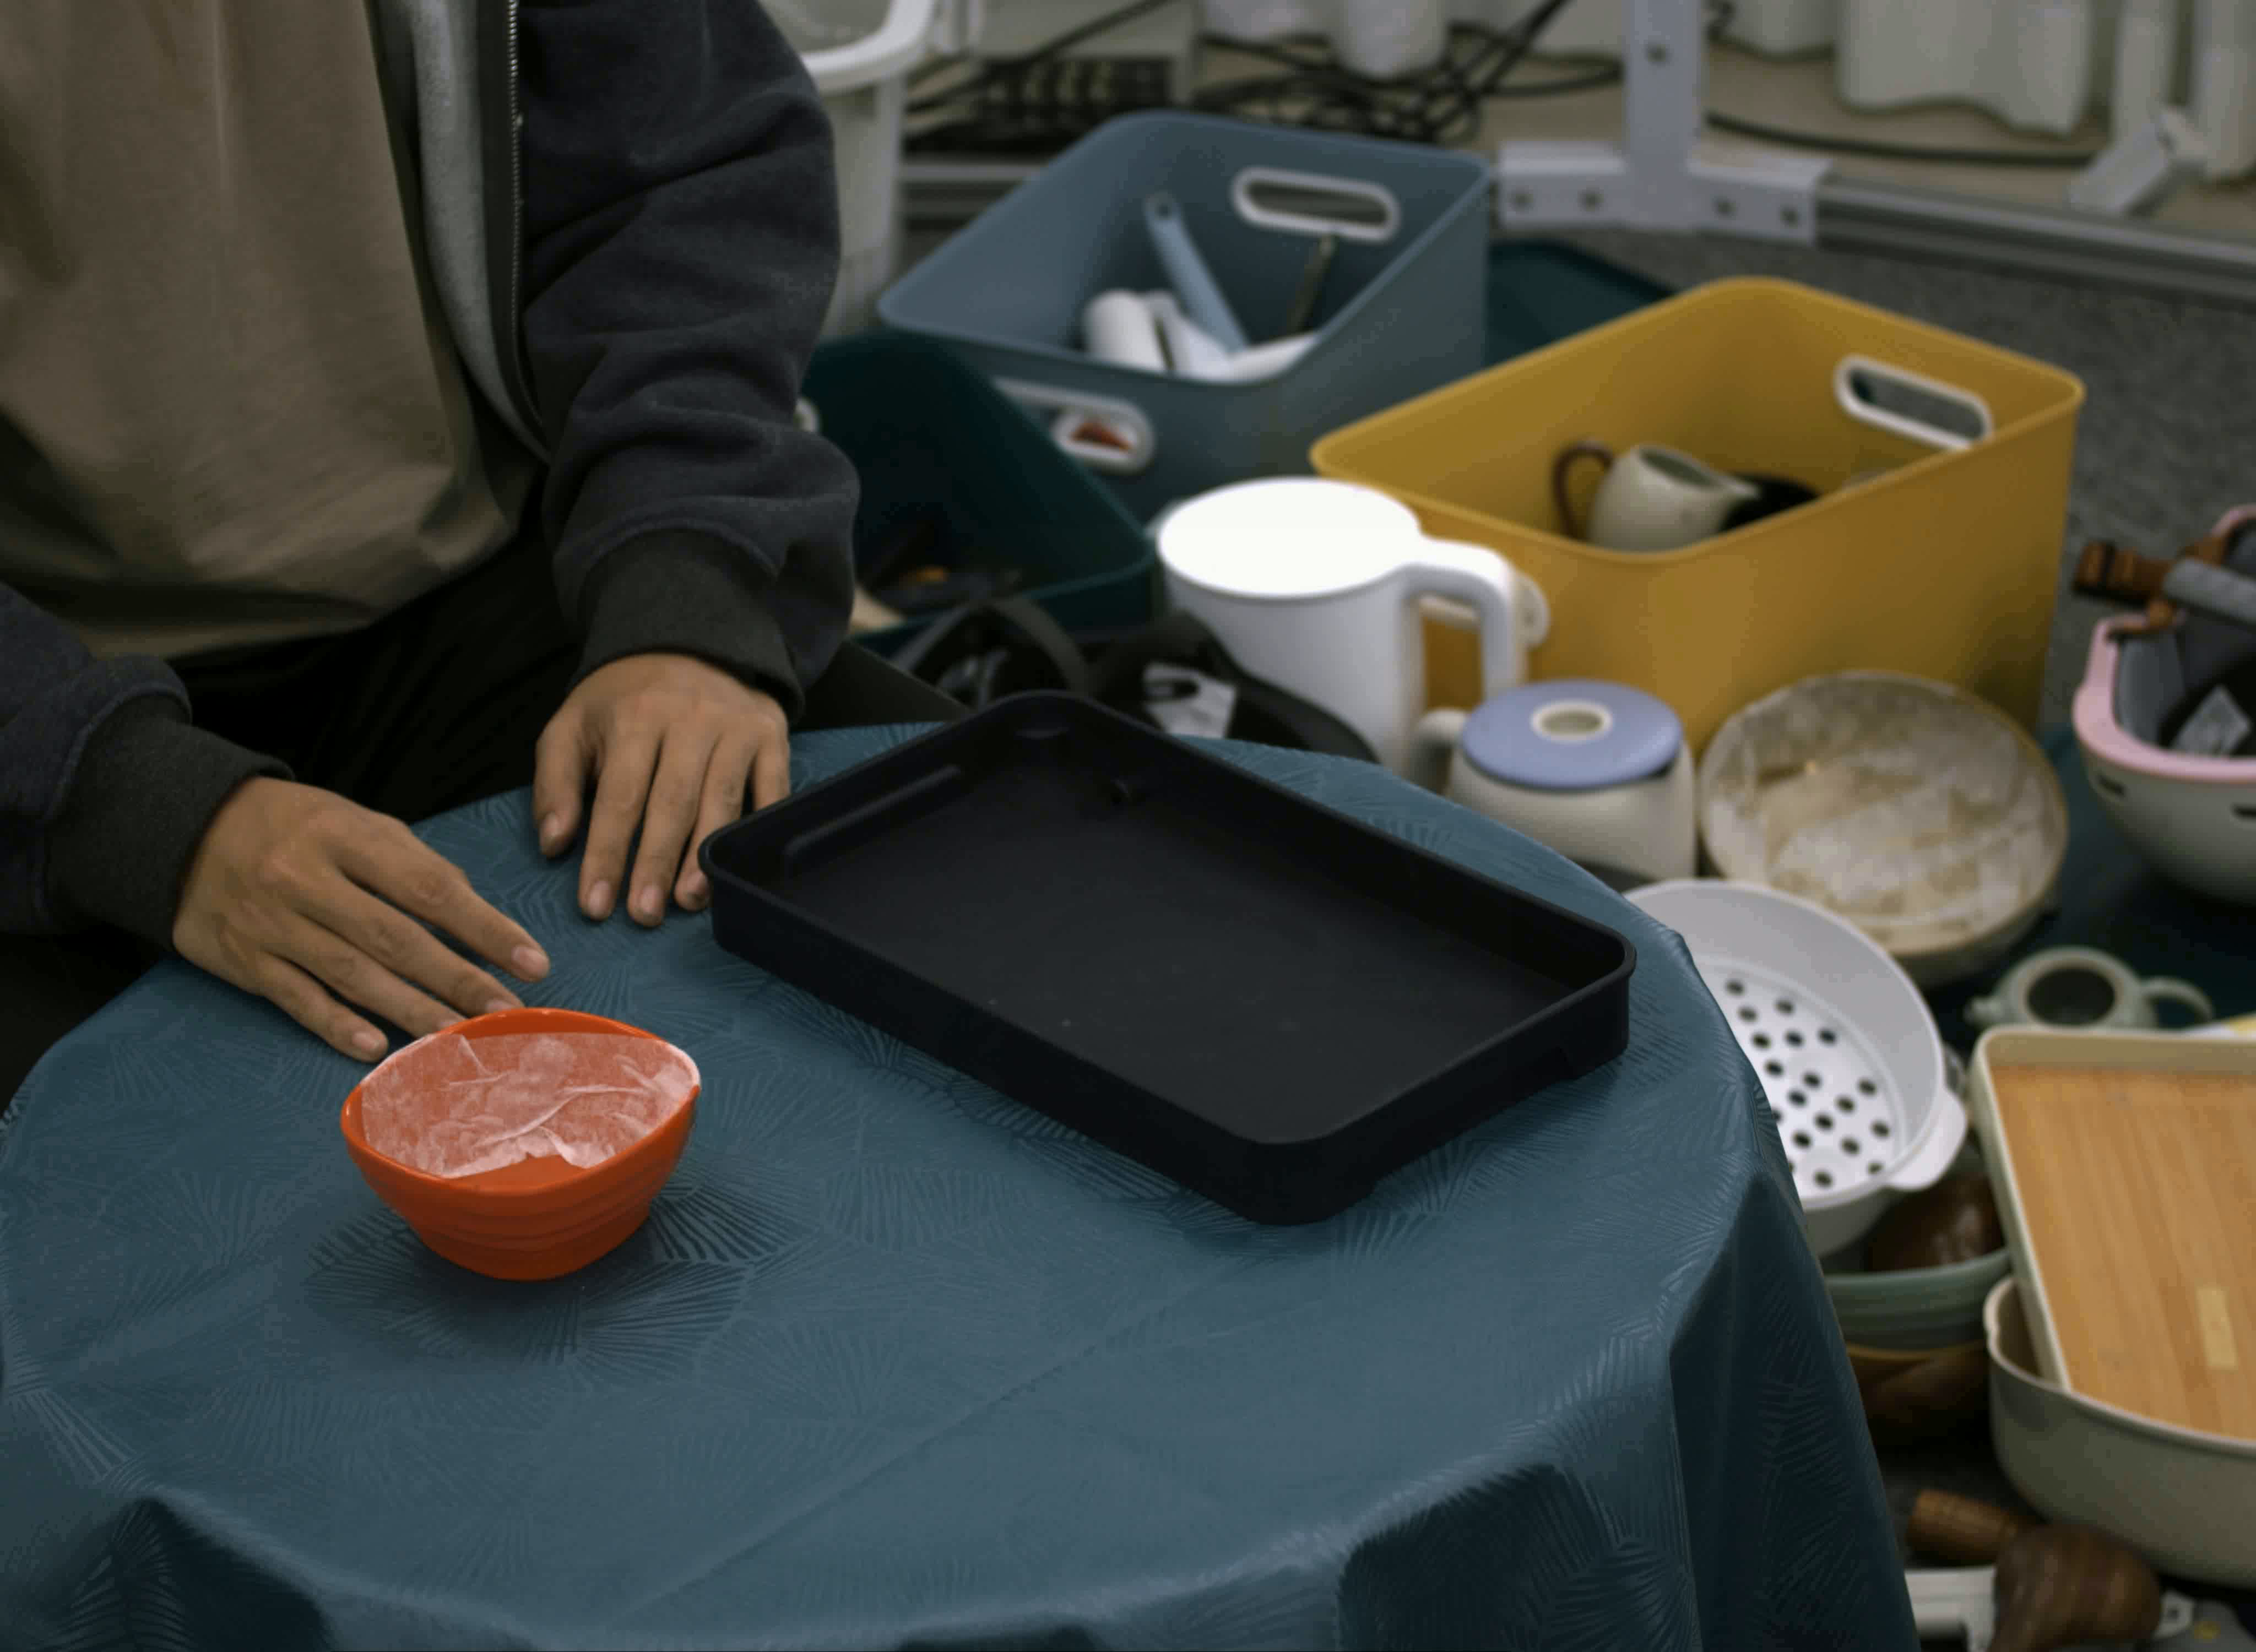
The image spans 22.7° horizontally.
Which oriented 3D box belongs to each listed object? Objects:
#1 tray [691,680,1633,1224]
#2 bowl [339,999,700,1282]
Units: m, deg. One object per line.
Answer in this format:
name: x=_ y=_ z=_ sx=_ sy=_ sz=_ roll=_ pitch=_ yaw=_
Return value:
tray: x=0.008 y=0.039 z=1.979 sx=0.186 sy=0.036 sz=0.318 roll=-25 pitch=36 yaw=-36
bowl: x=-0.198 y=0.108 z=1.849 sx=0.118 sy=0.051 sz=0.121 roll=-2 pitch=29 yaw=1
